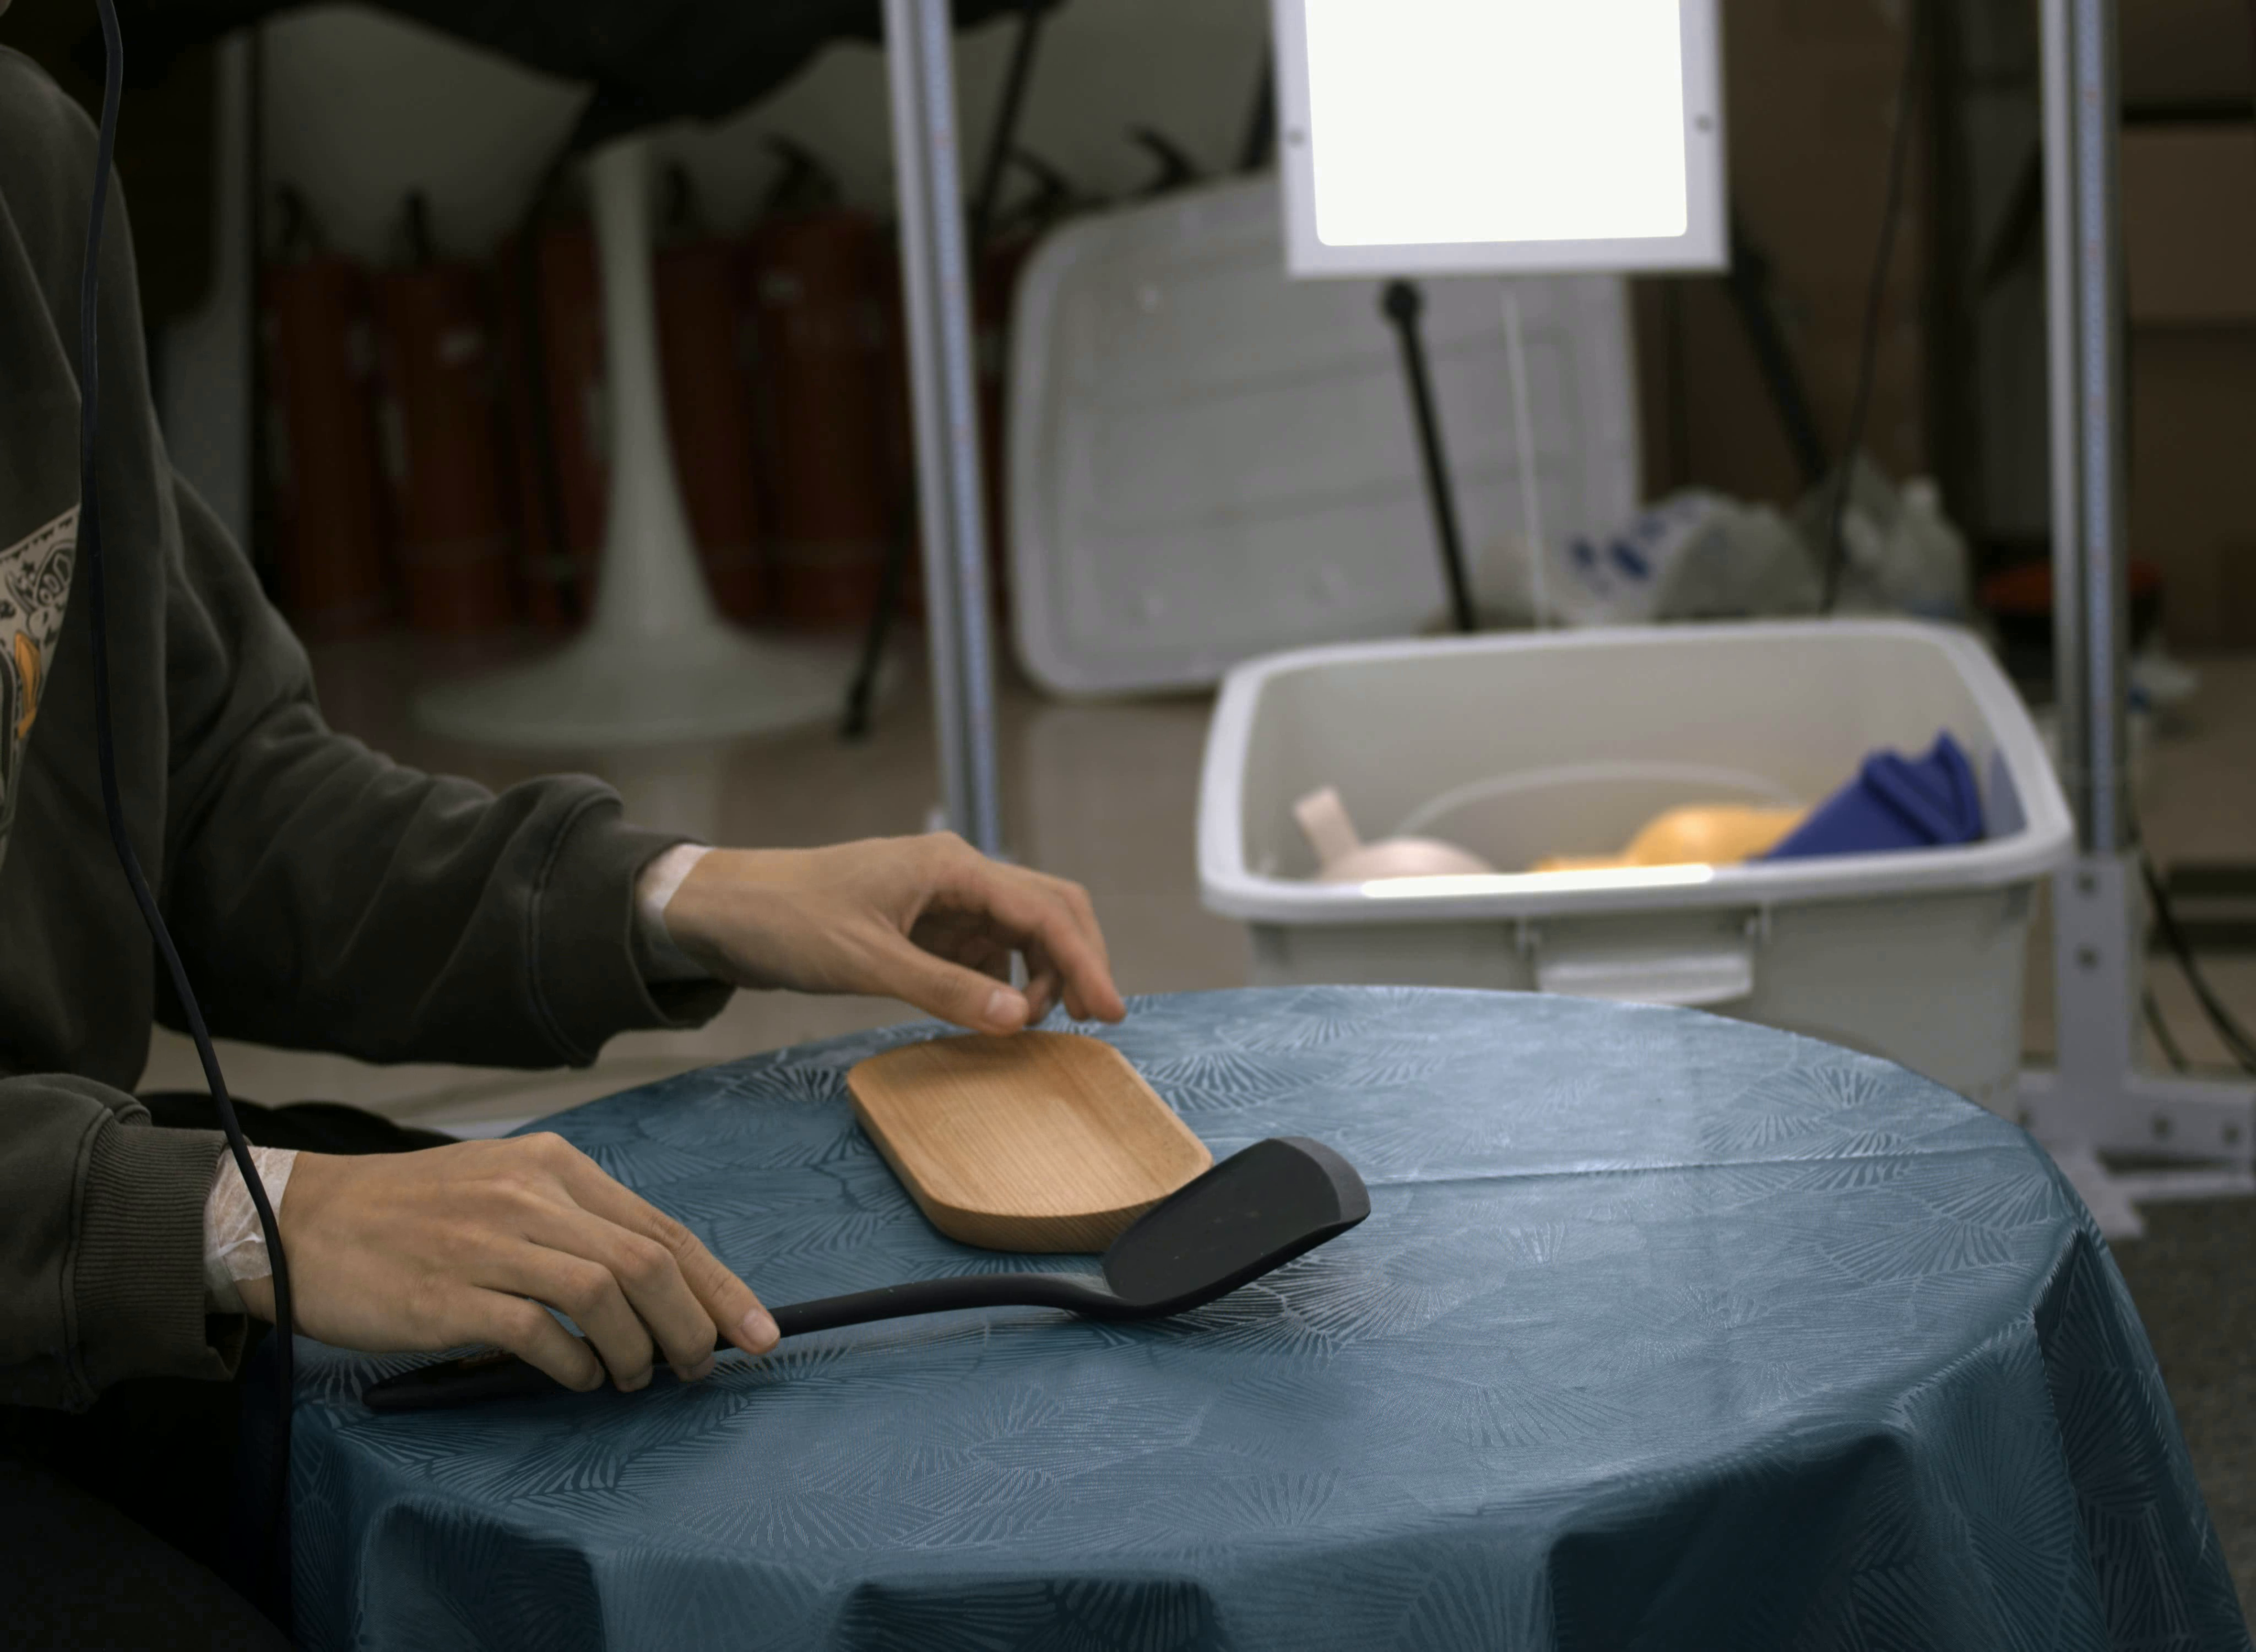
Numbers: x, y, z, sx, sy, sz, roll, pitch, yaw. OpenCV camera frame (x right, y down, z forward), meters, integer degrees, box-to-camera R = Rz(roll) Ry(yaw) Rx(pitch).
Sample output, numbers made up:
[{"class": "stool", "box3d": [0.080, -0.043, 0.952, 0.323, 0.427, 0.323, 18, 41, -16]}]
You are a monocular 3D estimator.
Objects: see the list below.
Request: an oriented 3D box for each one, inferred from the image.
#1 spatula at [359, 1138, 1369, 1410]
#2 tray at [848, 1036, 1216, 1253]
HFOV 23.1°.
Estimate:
[{"class": "spatula", "box3d": [-0.085, 0.148, 1.763, 0.323, 0.040, 0.100, -7, 13, -8]}, {"class": "tray", "box3d": [-0.035, 0.111, 1.941, 0.100, 0.020, 0.233, -8, 15, -12]}]
